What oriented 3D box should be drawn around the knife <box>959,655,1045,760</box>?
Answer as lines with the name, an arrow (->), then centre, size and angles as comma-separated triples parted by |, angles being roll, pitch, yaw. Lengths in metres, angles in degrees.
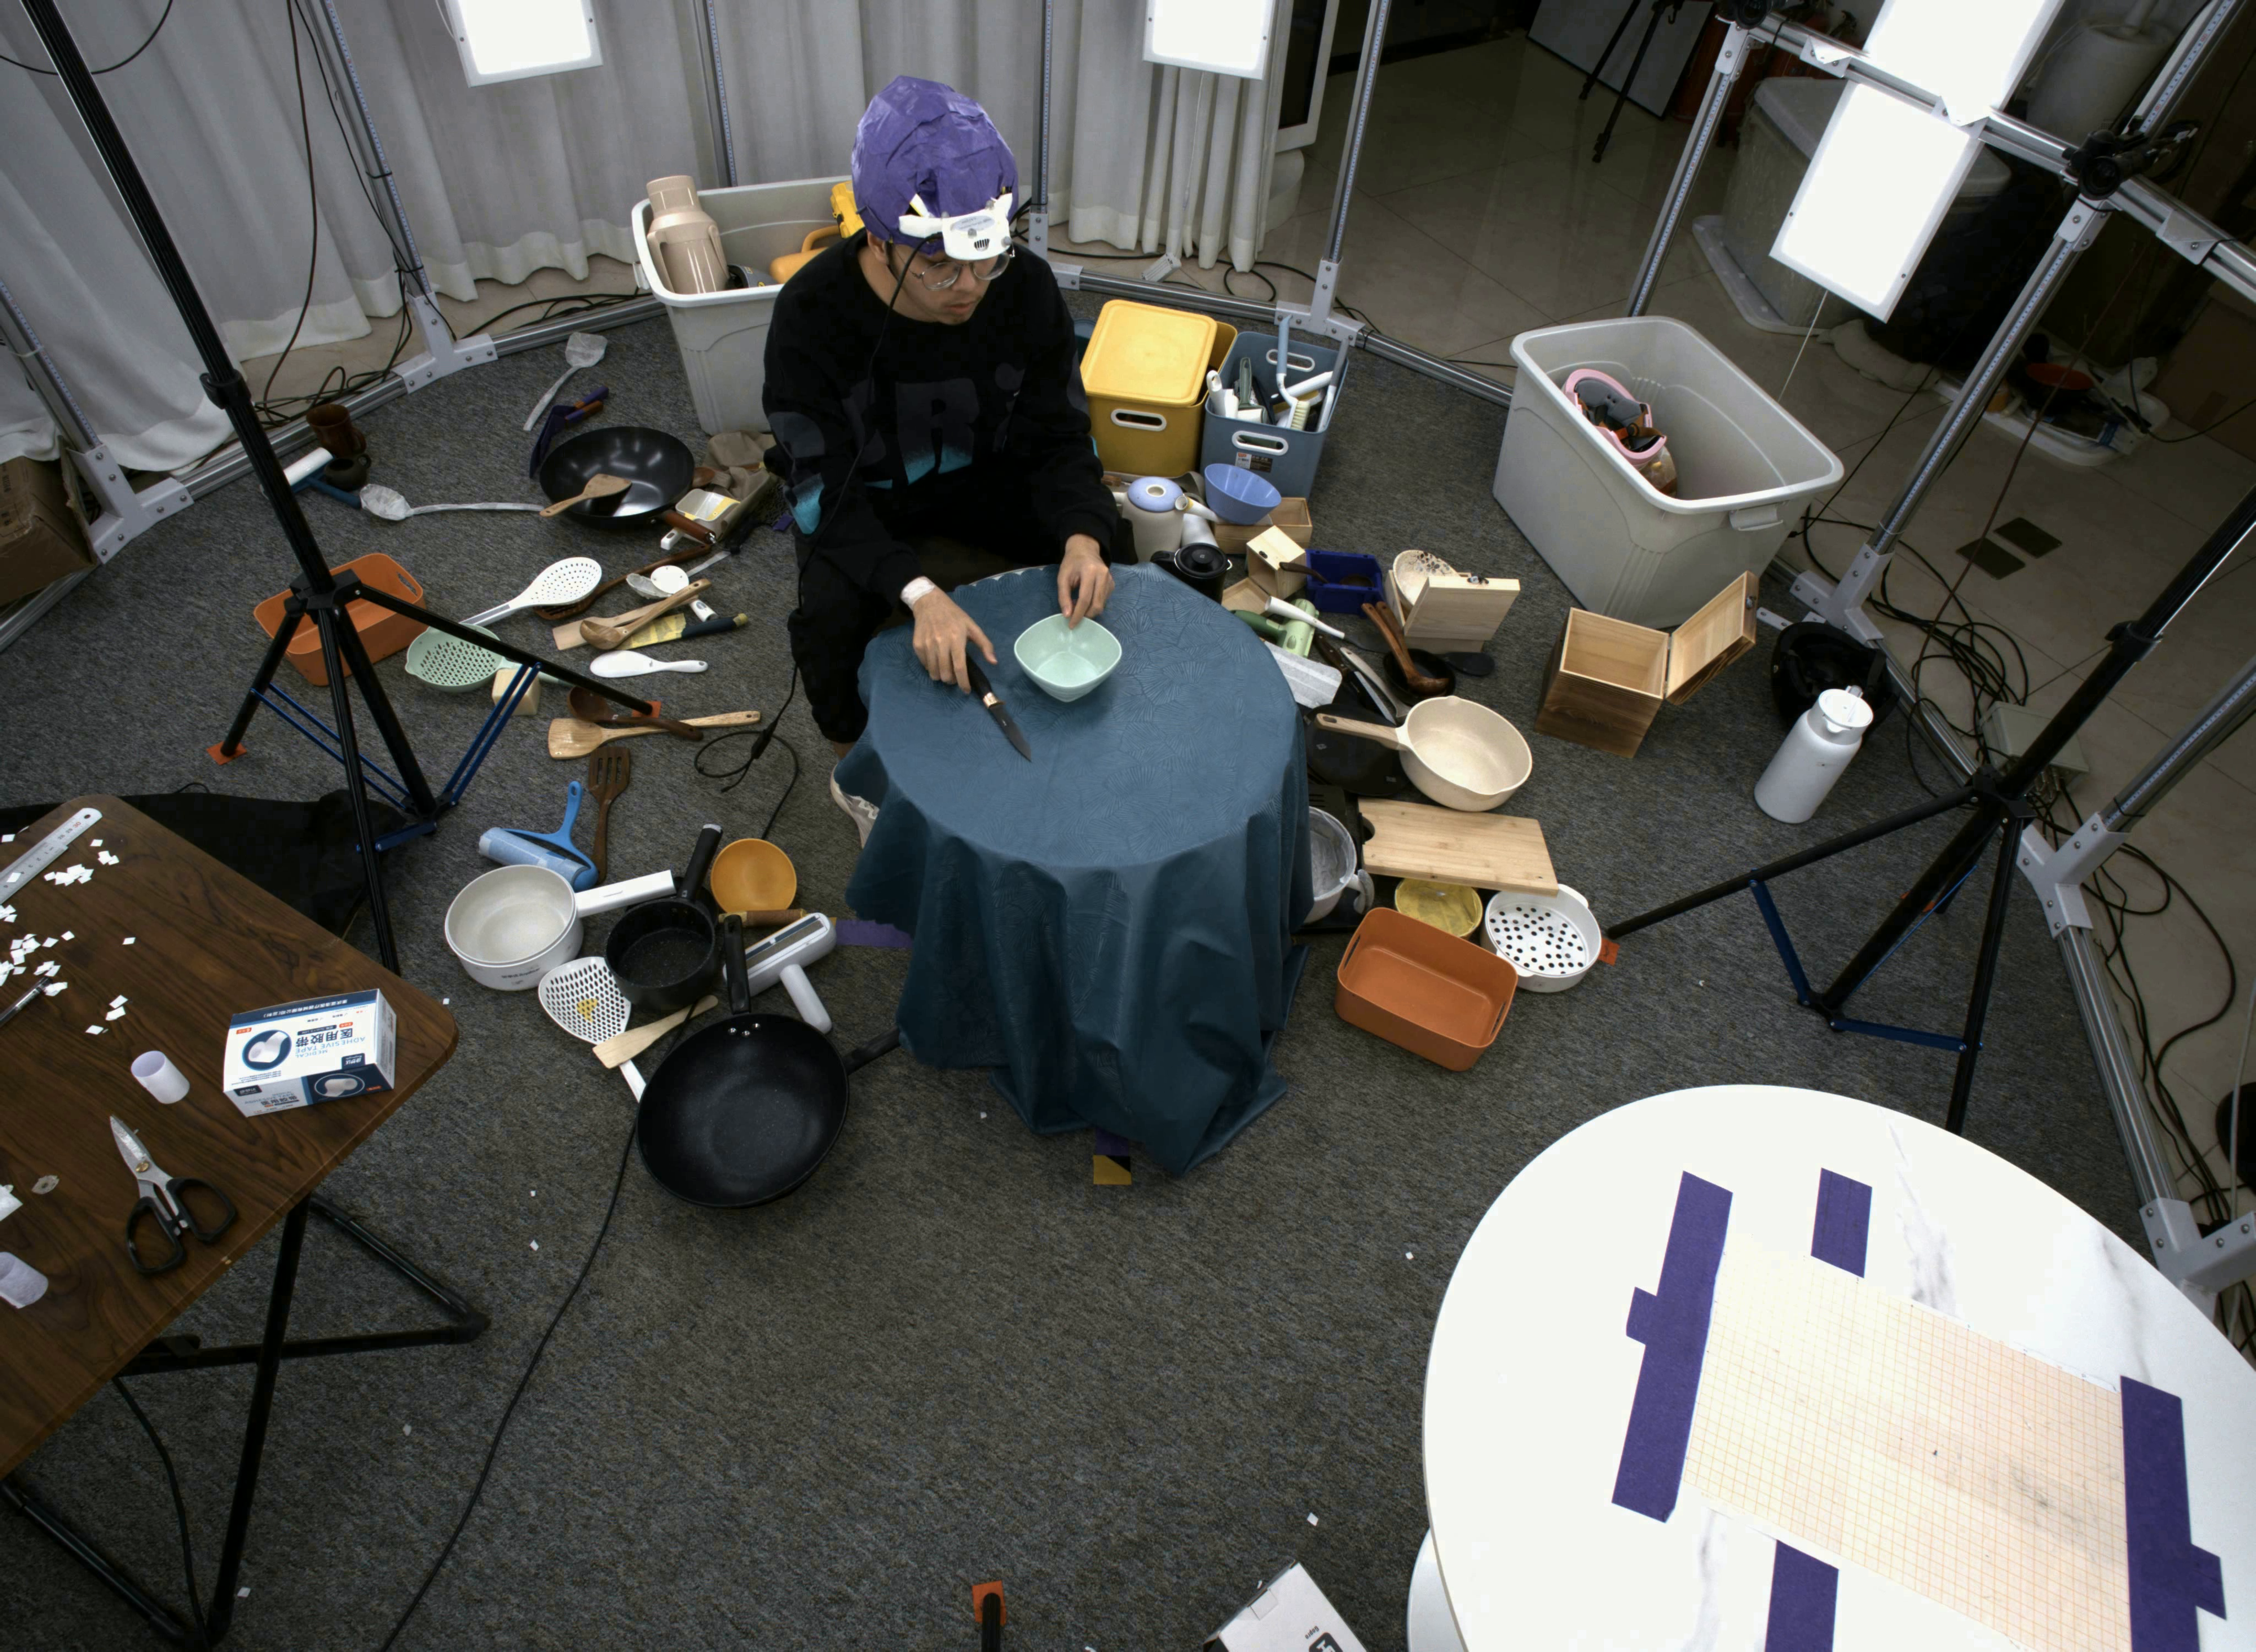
knife -> -0.177, -0.166, 1.794 | 0.026, 0.017, 0.230 | -19, 54, -27

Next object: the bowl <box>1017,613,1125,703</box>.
bowl -> -0.081, -0.231, 1.828 | 0.151, 0.057, 0.155 | 1, 50, -2
